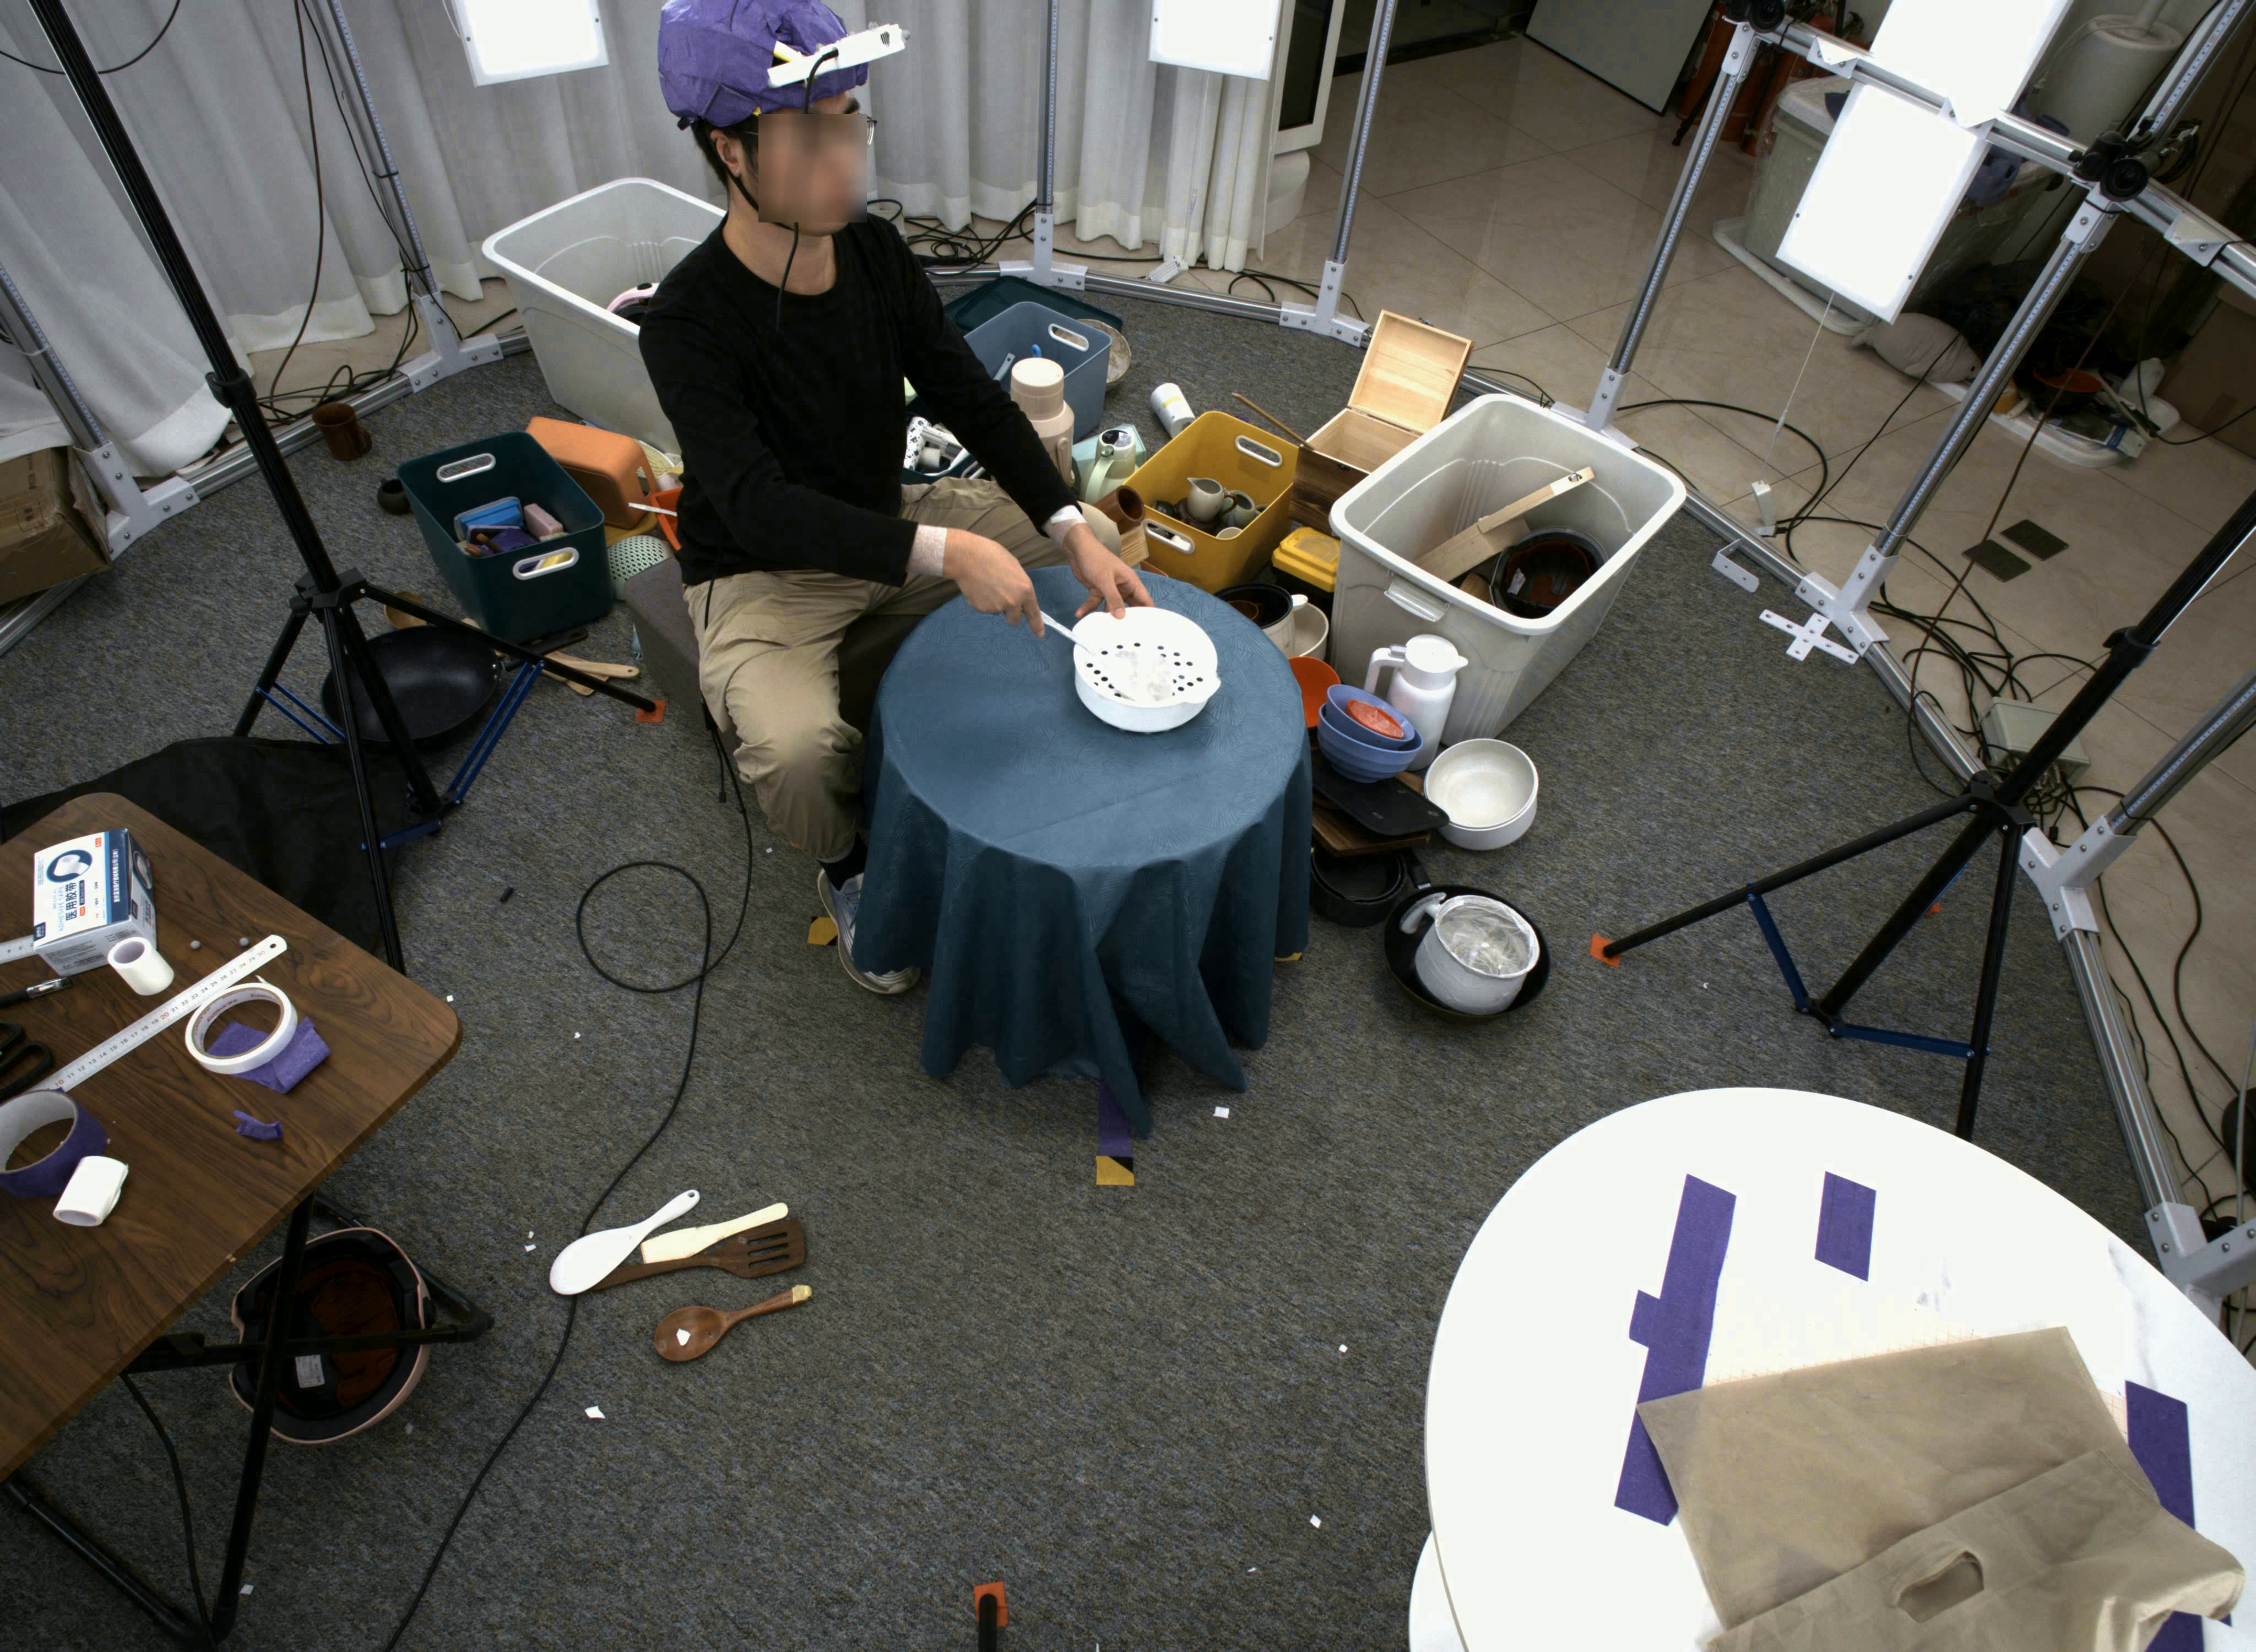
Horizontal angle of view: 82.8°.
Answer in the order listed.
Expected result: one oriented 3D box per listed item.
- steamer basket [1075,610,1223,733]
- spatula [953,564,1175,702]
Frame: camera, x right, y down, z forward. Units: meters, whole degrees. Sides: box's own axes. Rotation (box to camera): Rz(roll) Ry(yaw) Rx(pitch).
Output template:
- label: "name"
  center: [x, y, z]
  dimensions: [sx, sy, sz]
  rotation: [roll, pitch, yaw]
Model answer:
- label: "steamer basket"
  center: [0.027, -0.218, 1.816]
  dimensions: [0.233, 0.067, 0.204]
  rotation: [31, 53, 23]
- label: "spatula"
  center: [-0.080, -0.266, 1.749]
  dimensions: [0.359, 0.044, 0.101]
  rotation: [29, 47, -33]
